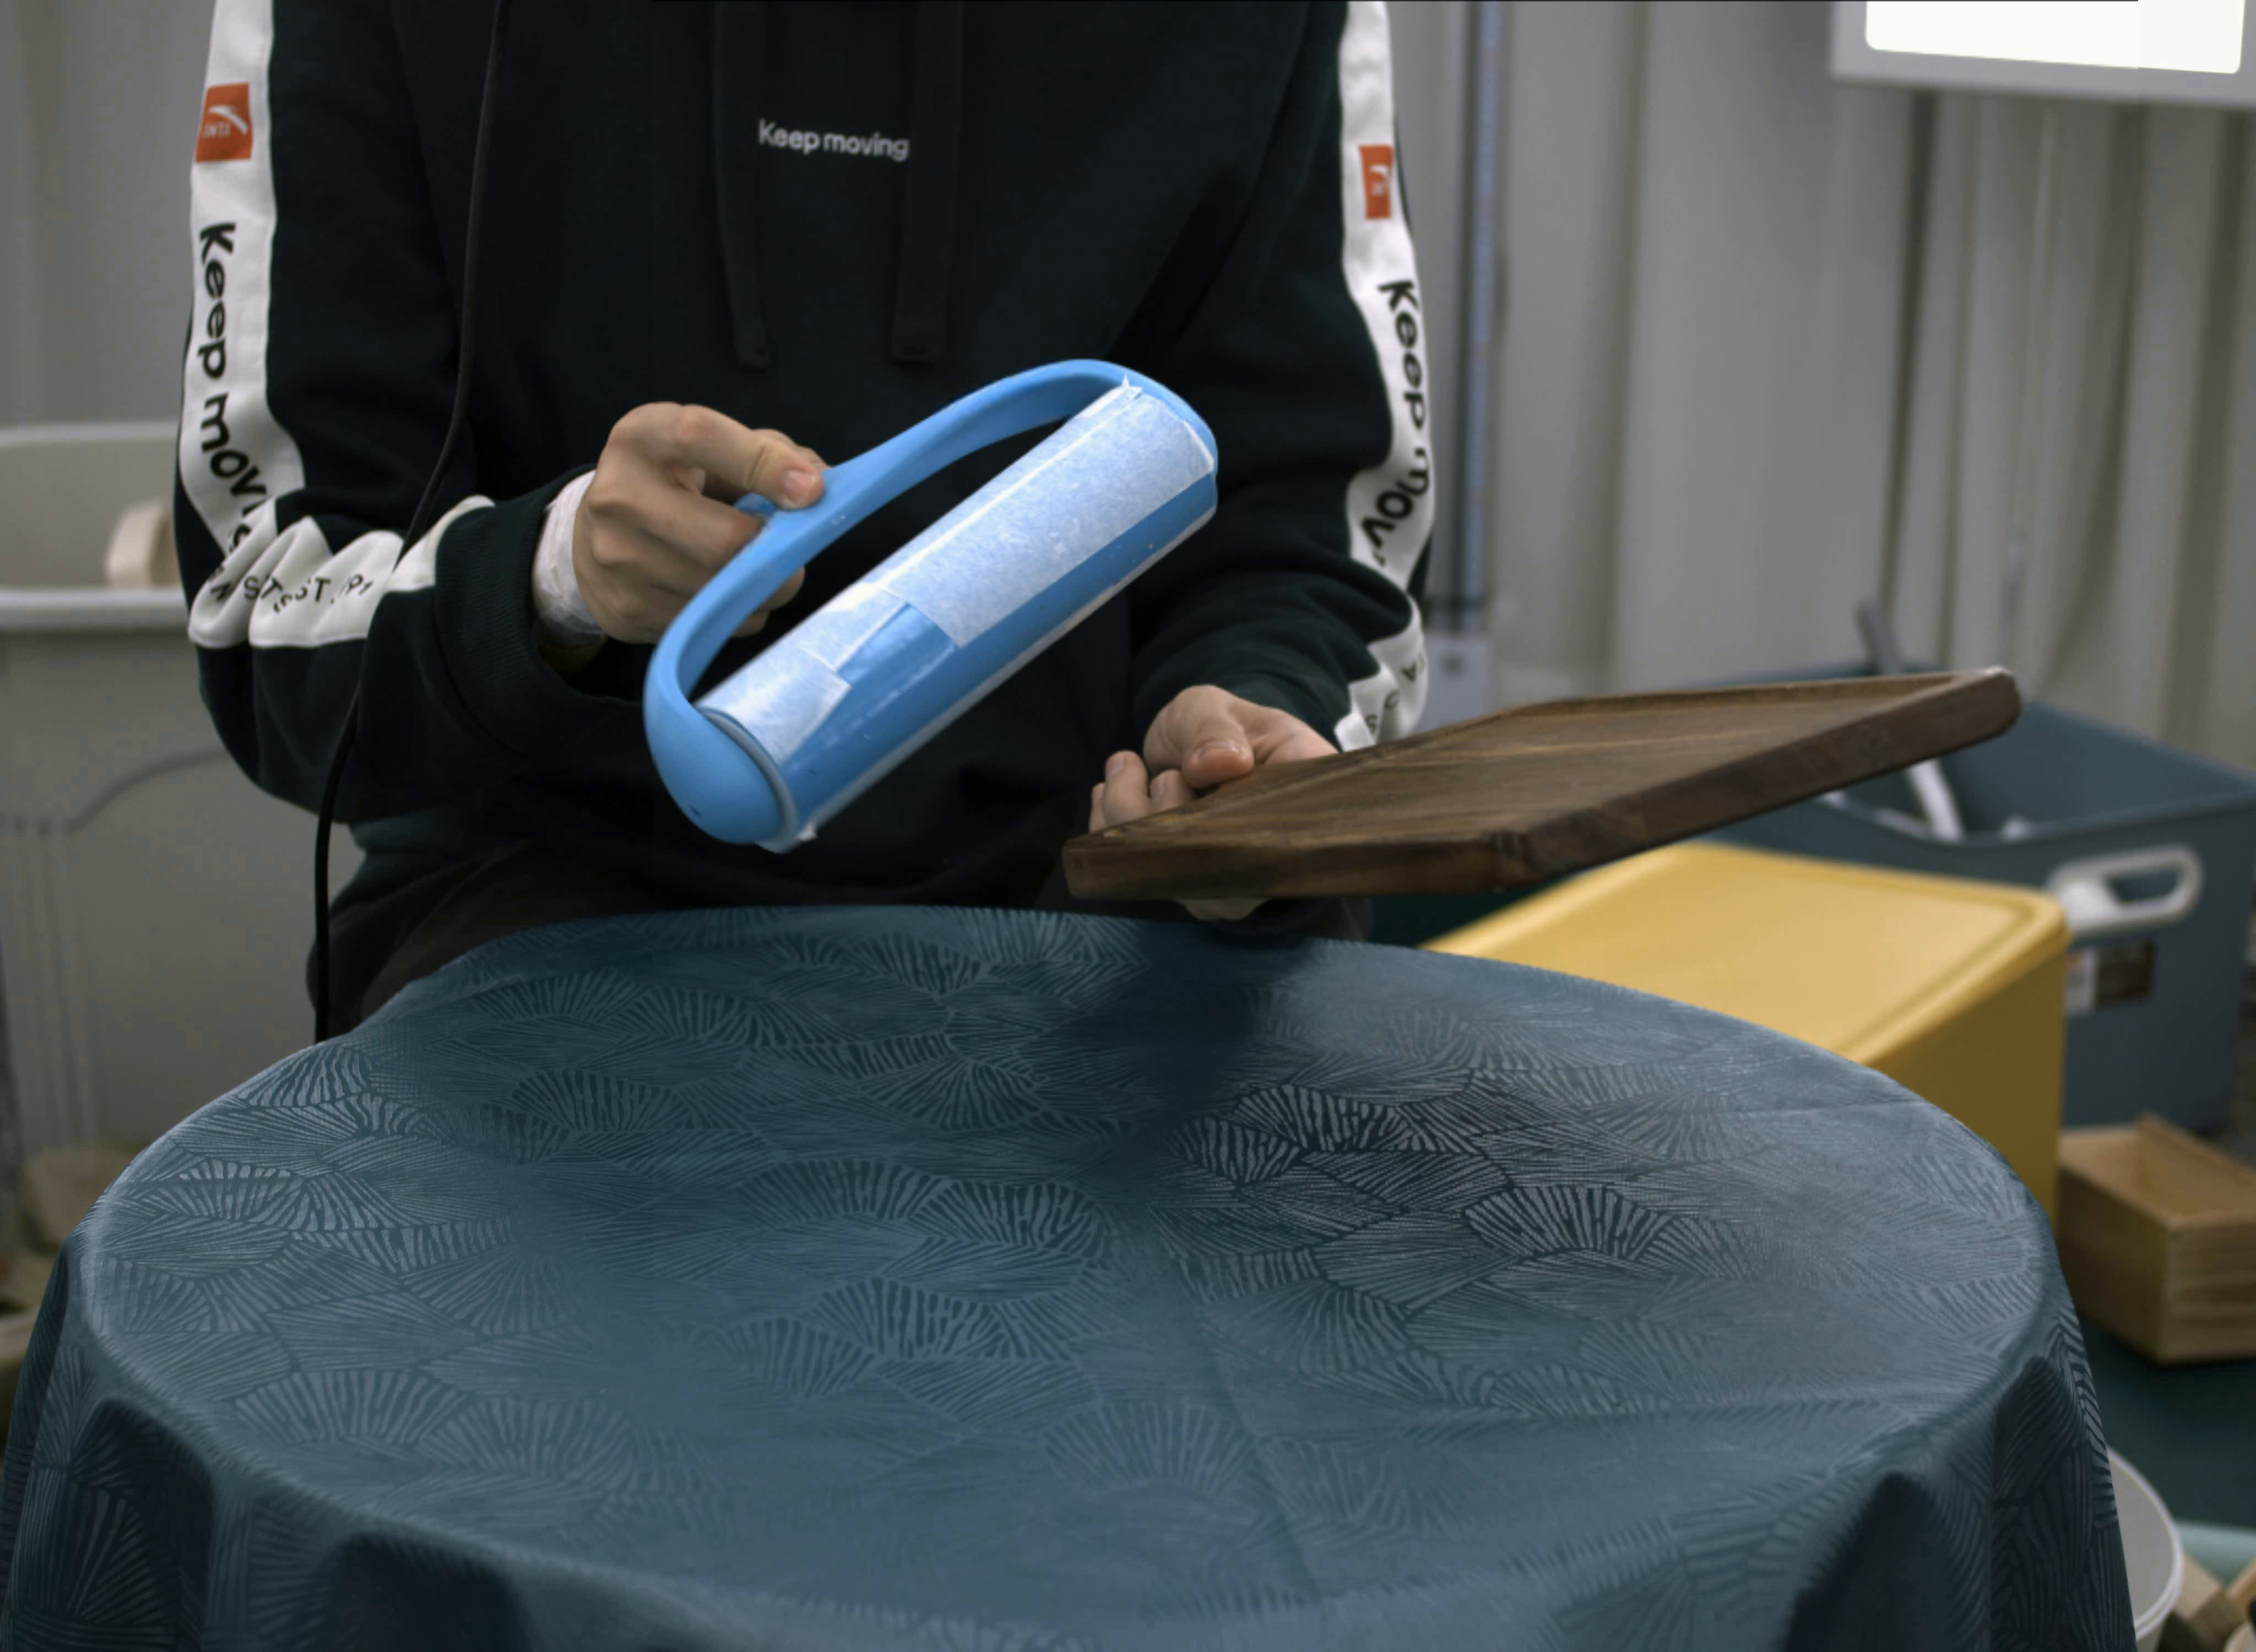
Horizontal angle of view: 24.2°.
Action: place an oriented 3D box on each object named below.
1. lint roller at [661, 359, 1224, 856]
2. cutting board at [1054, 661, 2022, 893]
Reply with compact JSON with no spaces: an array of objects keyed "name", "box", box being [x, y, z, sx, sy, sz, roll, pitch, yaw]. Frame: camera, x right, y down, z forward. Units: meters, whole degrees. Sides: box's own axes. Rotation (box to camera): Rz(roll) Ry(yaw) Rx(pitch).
[{"name":"lint roller","box":[-0.094,-0.079,1.705,0.178,0.069,0.229,15,48,42]},{"name":"cutting board","box":[0.095,-0.013,1.648,0.202,0.023,0.349,-16,6,-31]}]
